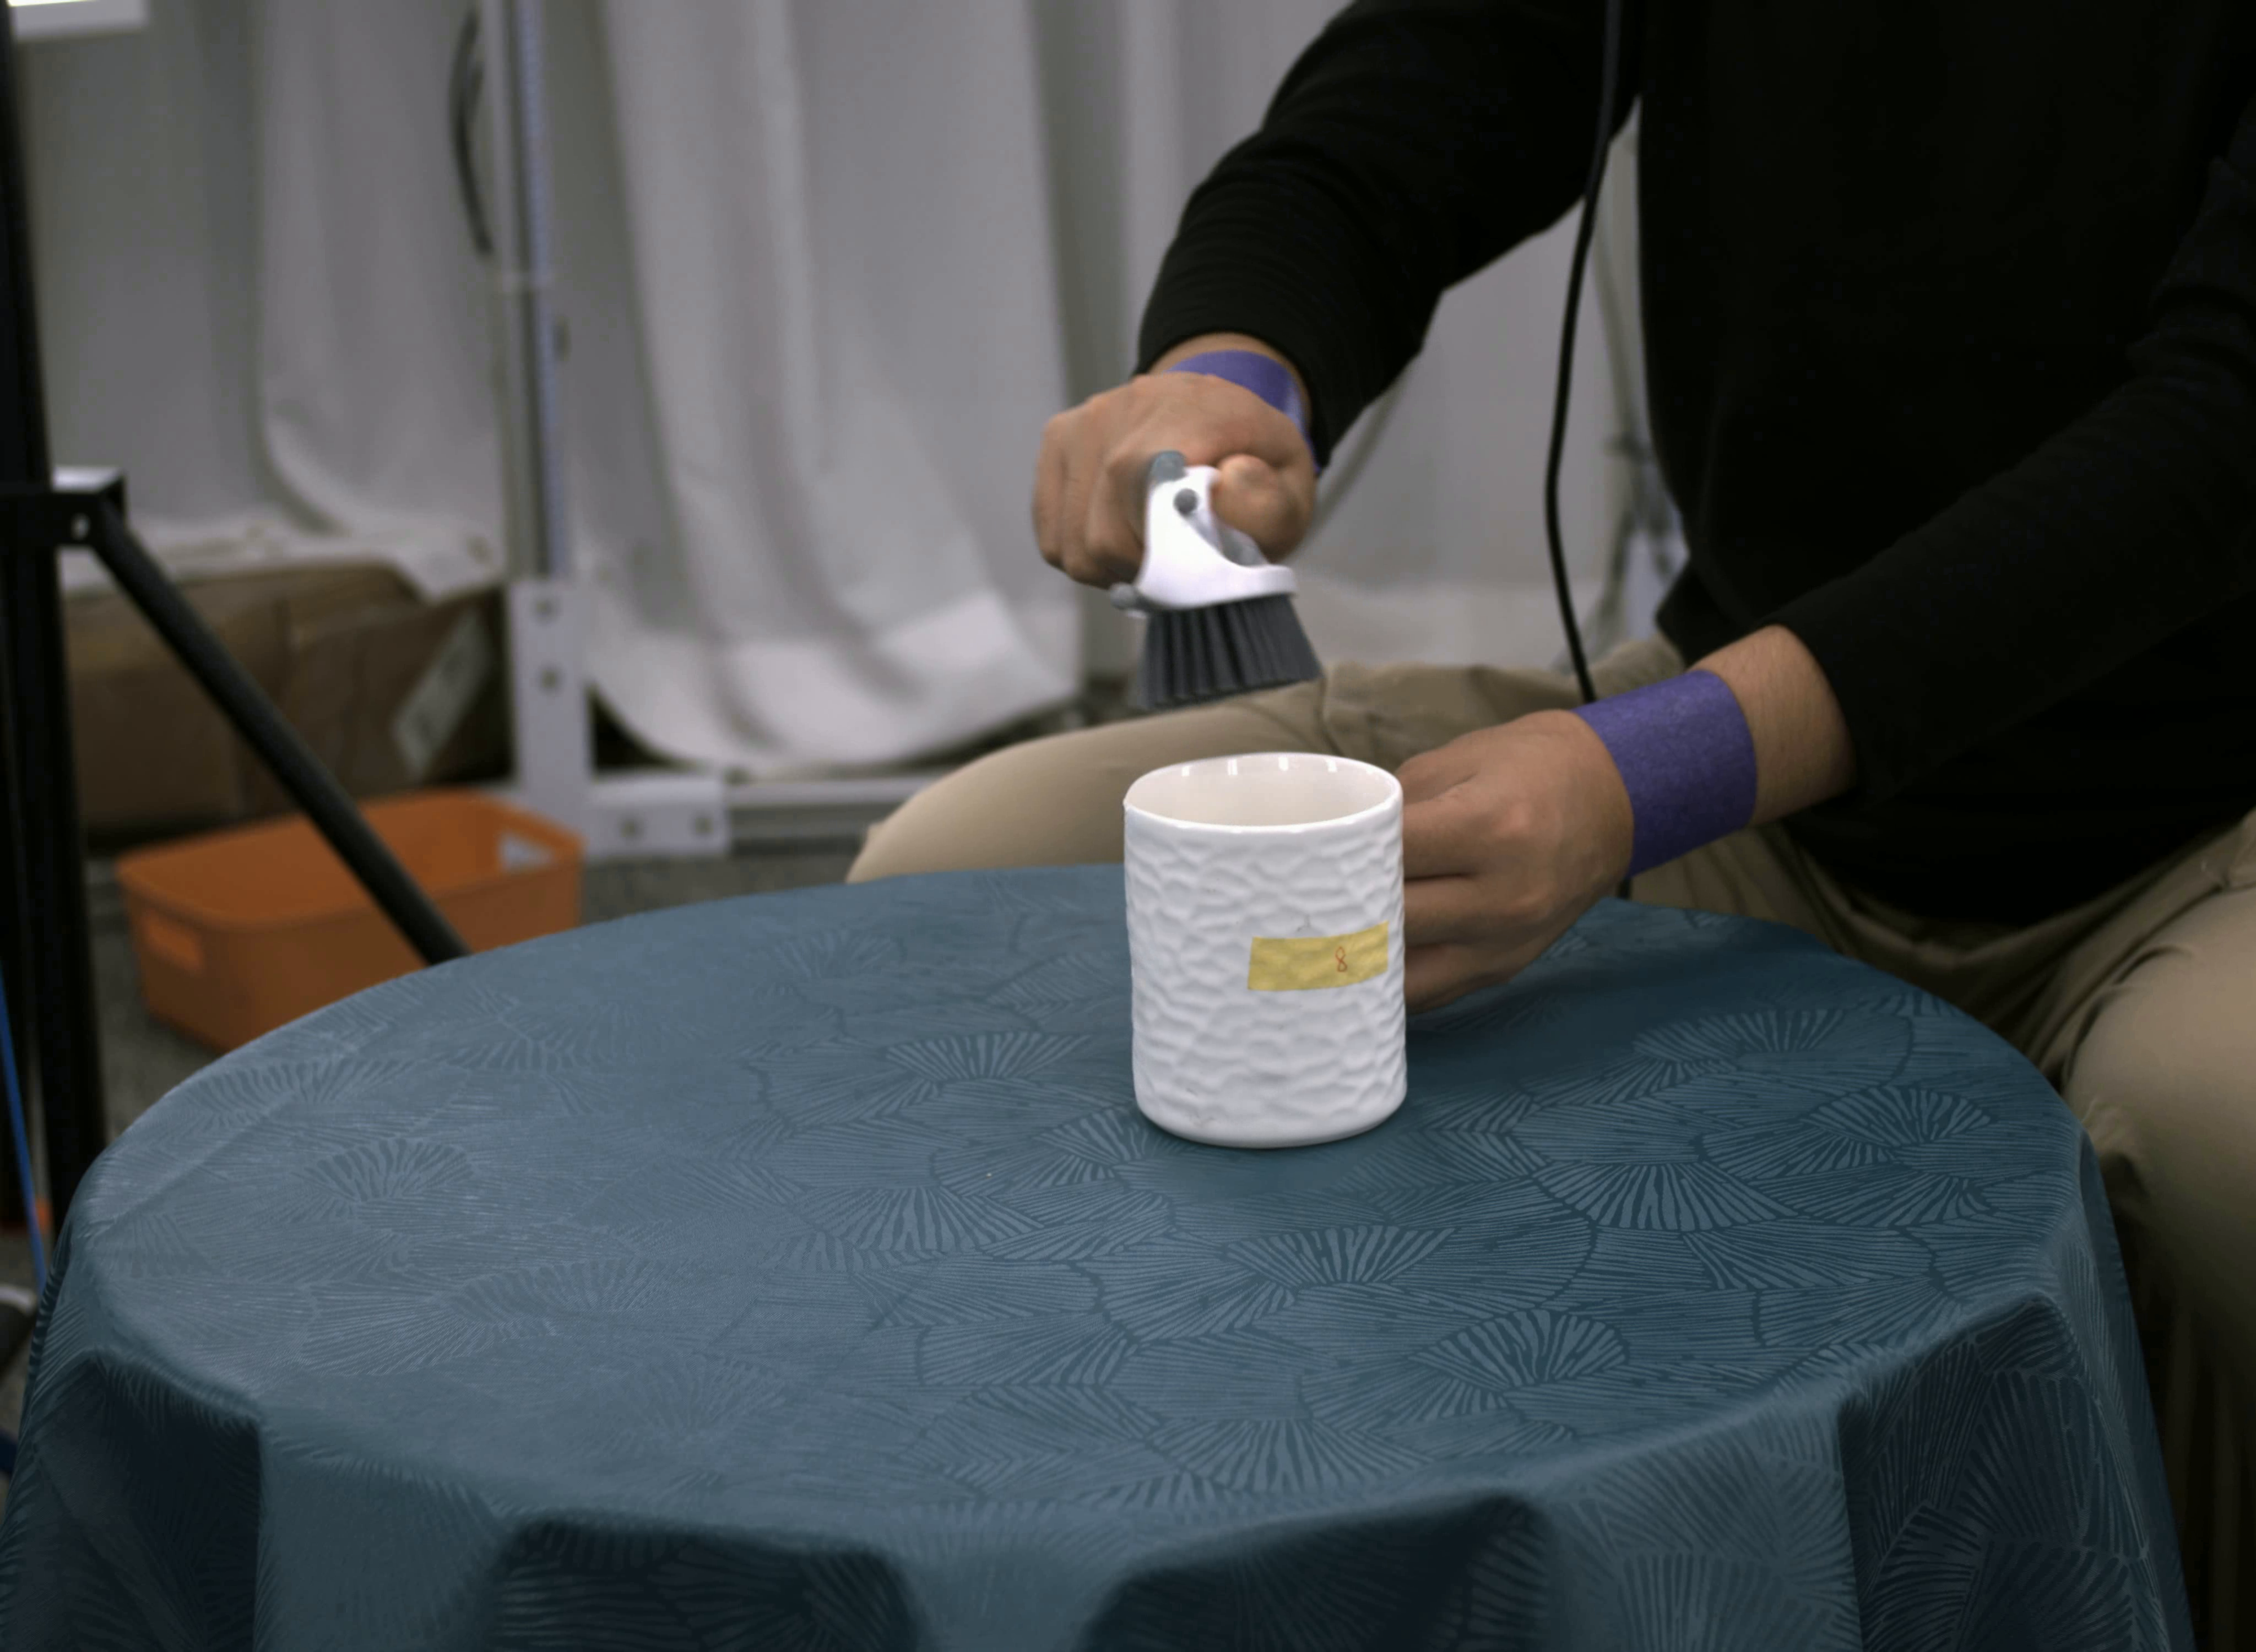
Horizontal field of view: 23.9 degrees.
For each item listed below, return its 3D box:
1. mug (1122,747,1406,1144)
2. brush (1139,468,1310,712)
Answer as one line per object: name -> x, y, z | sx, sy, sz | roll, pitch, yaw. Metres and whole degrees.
mug -> 0.041, 0.032, 1.629 | 0.084, 0.102, 0.119 | -3, 15, -2
brush -> 0.028, -0.075, 1.664 | 0.050, 0.073, 0.099 | -7, 2, 5
